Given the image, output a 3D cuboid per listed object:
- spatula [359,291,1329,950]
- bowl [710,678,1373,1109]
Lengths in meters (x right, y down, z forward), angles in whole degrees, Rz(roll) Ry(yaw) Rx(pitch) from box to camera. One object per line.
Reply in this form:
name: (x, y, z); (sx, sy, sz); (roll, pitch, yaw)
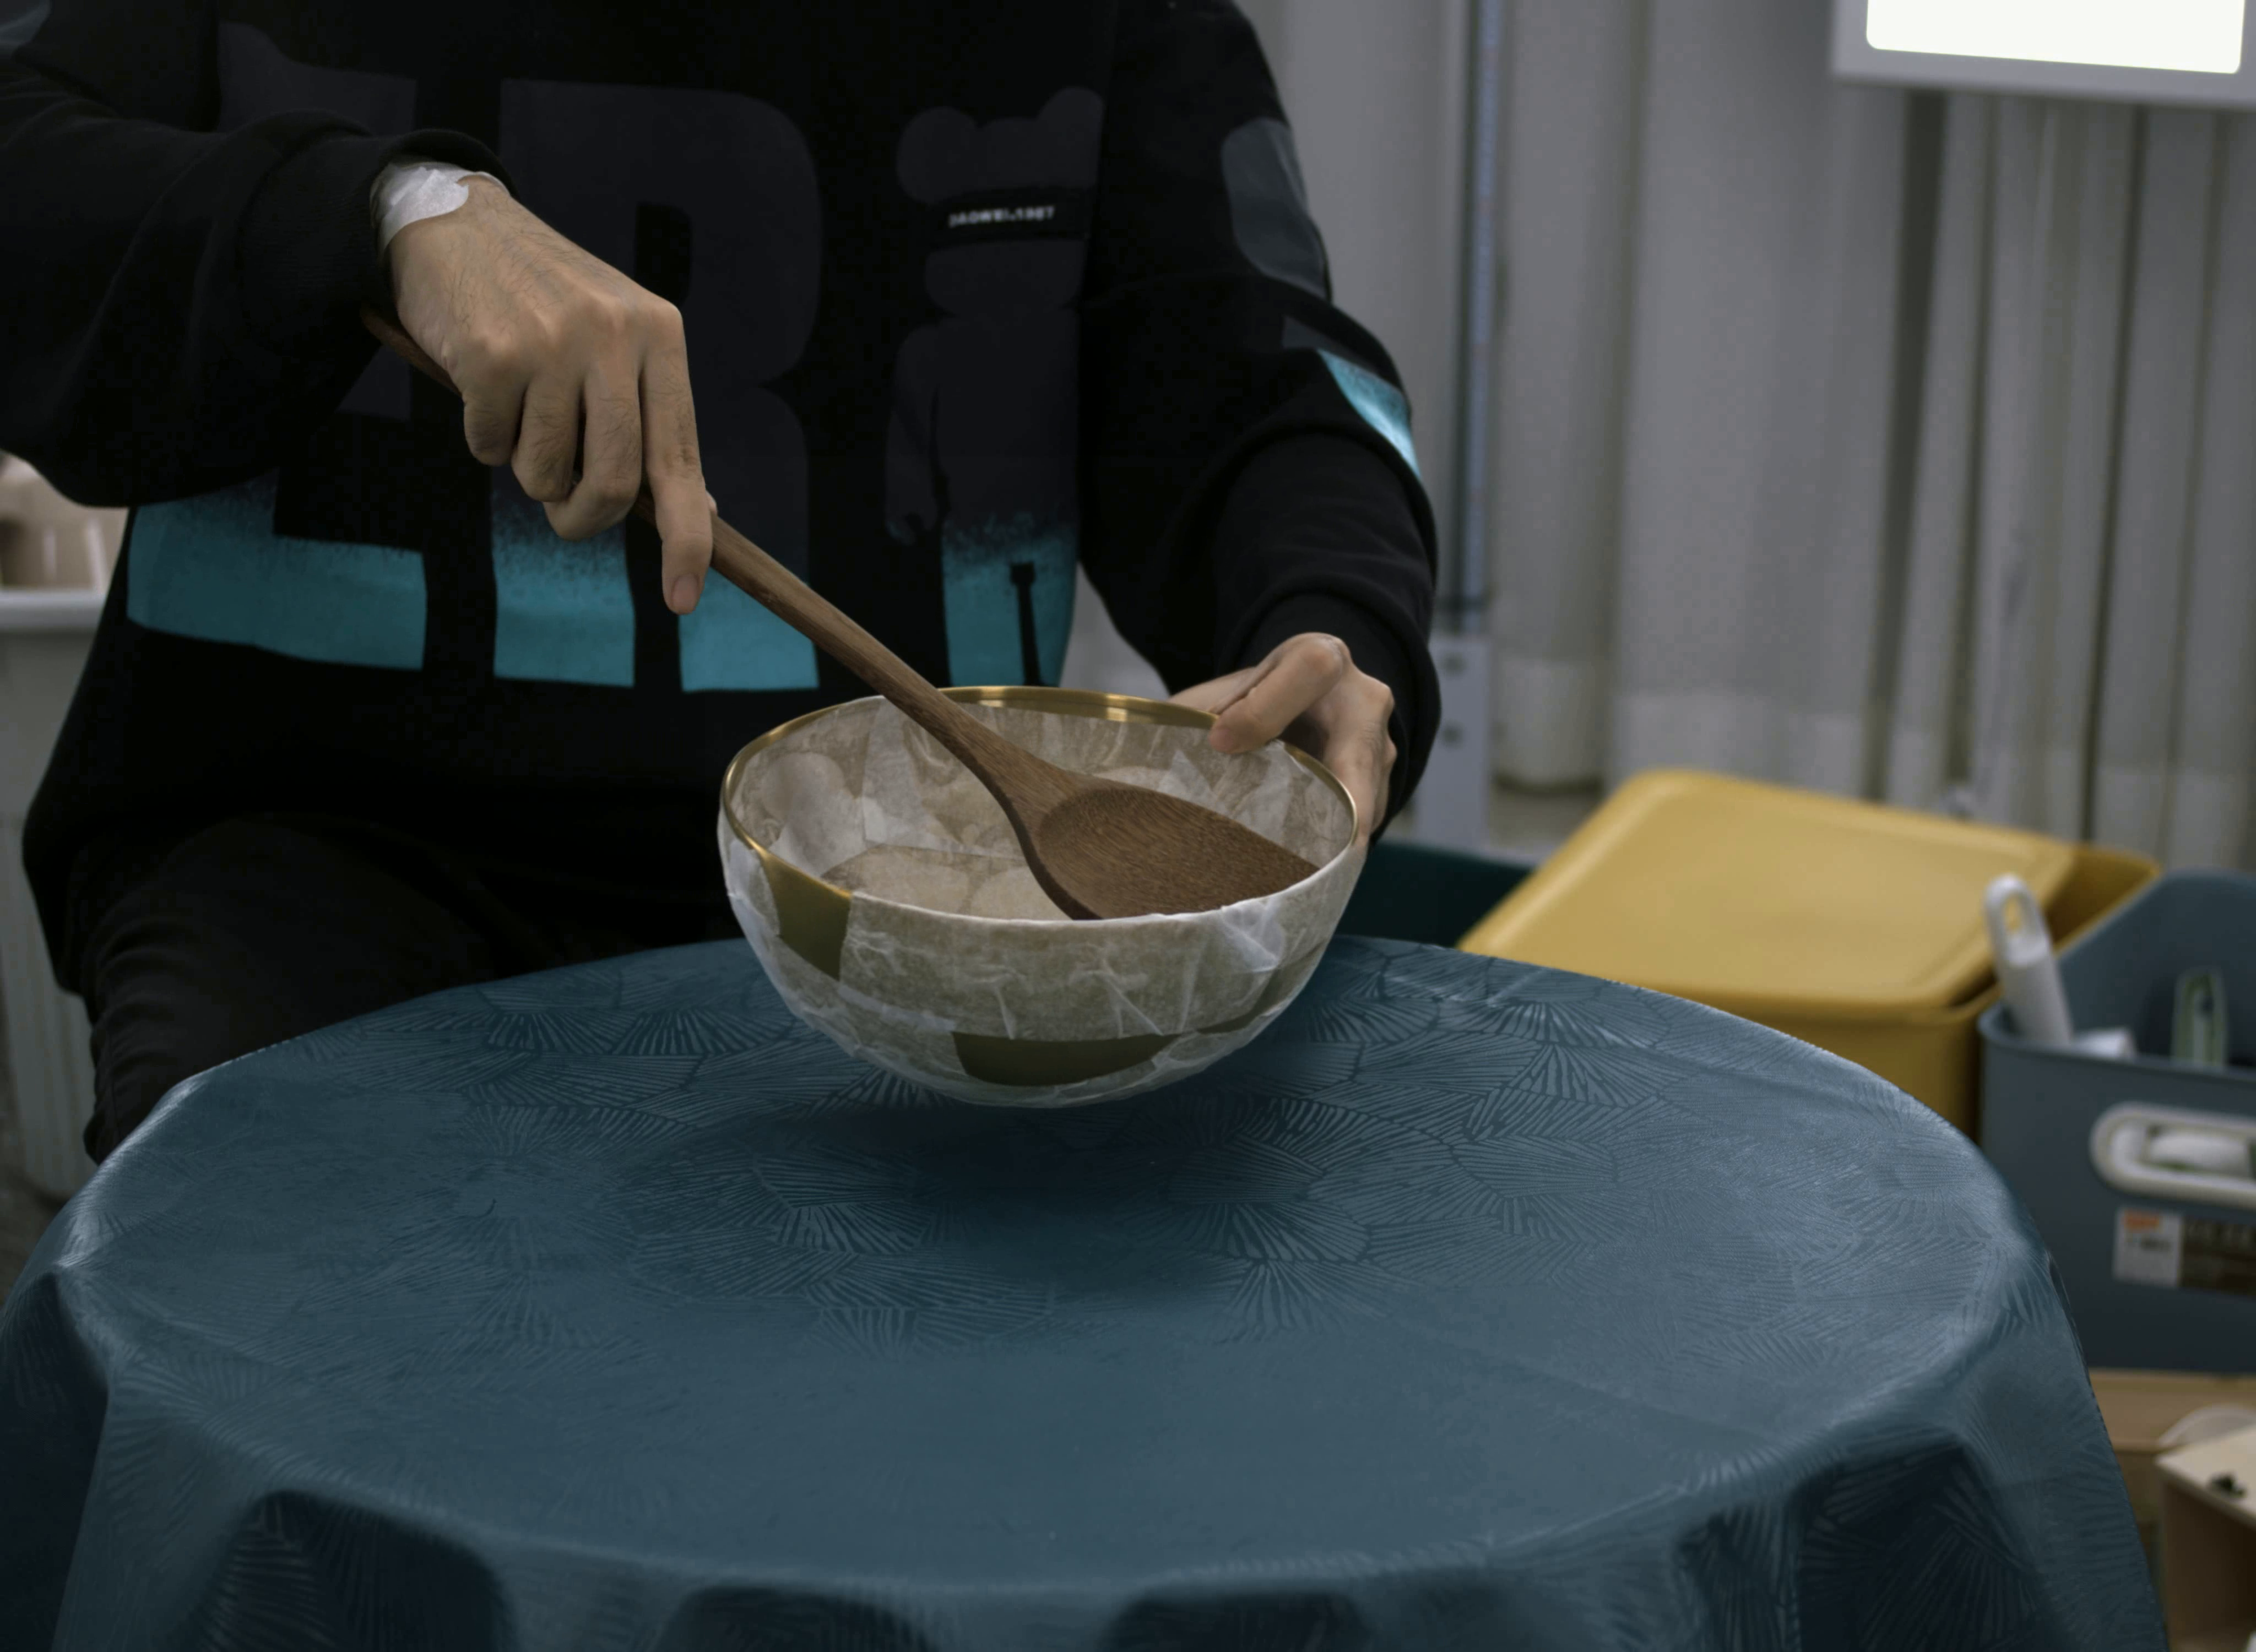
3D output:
spatula: (-0.099, -0.067, 1.670); (0.383, 0.016, 0.096); (37, 34, 14)
bowl: (-0.029, 0.031, 1.658); (0.214, 0.095, 0.213); (2, 22, 0)
